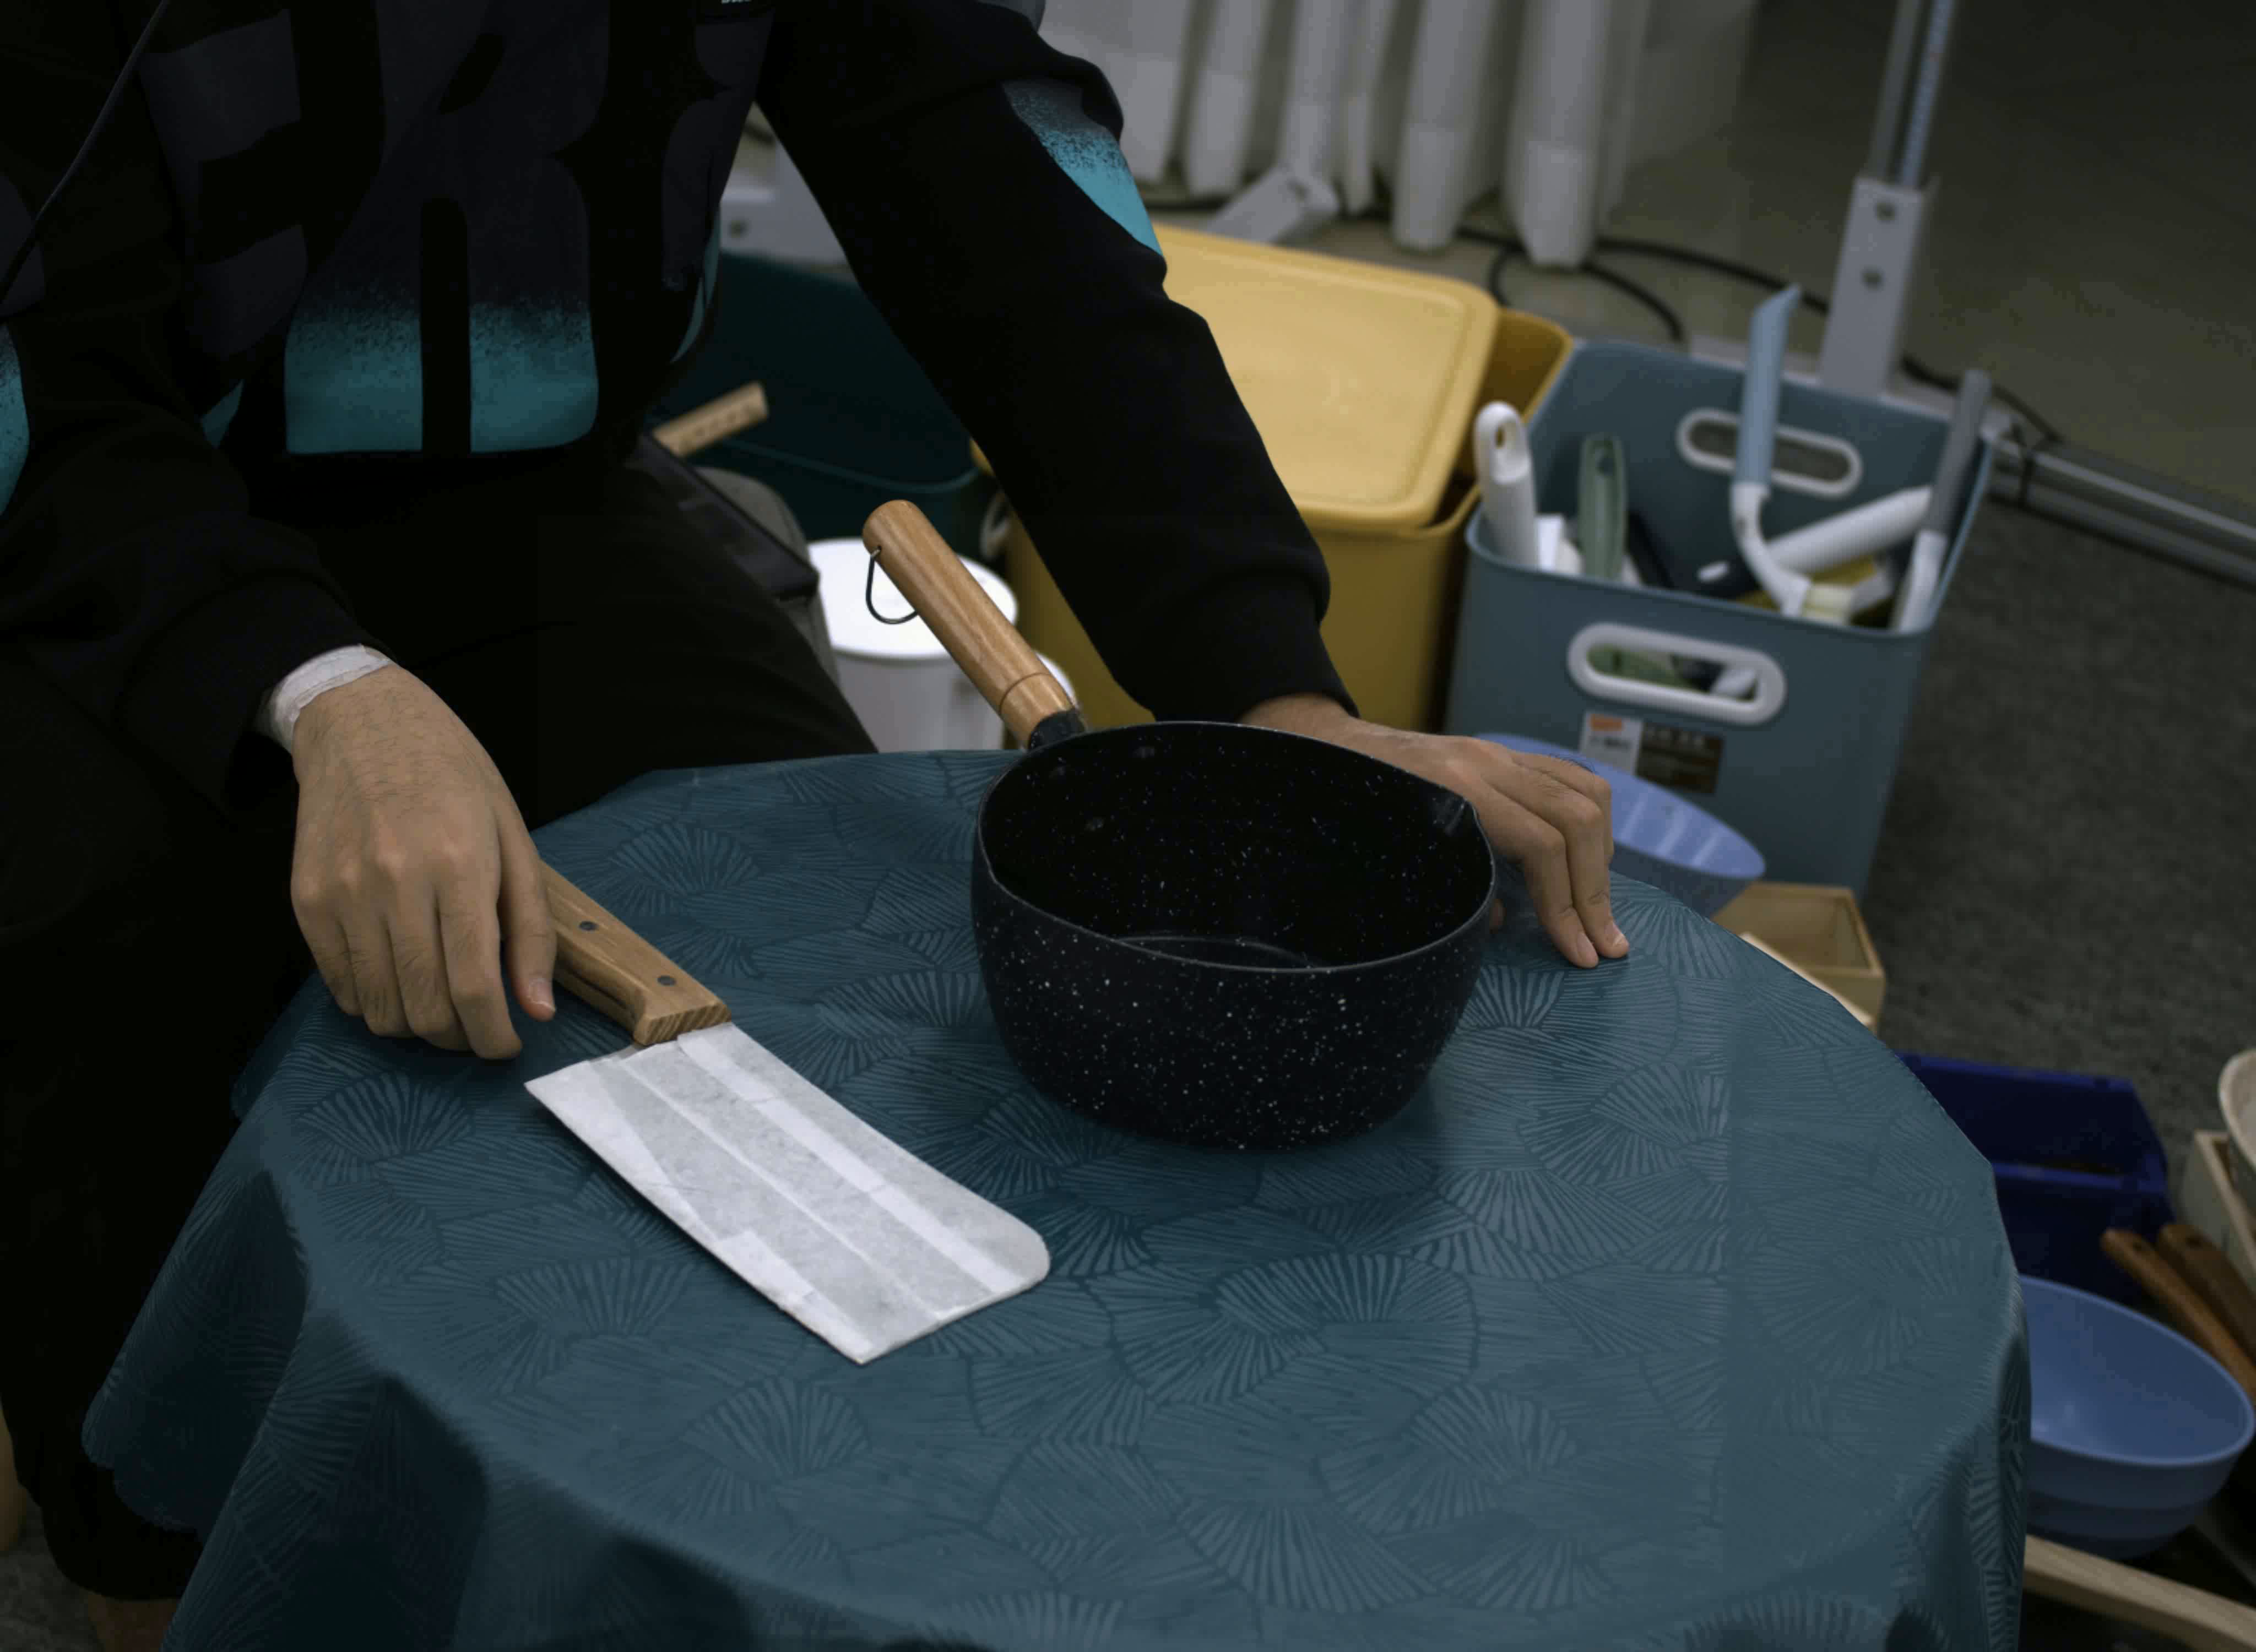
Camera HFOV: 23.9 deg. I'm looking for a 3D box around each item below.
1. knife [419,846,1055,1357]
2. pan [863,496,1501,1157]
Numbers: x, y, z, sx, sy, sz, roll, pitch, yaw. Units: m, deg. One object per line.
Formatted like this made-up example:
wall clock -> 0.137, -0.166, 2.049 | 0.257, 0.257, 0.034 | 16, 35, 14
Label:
knife -> -0.146, 0.089, 1.818 | 0.113, 0.021, 0.318 | -15, 36, -35
pan -> -0.008, -0.003, 1.928 | 0.206, 0.108, 0.346 | -13, 34, -32
